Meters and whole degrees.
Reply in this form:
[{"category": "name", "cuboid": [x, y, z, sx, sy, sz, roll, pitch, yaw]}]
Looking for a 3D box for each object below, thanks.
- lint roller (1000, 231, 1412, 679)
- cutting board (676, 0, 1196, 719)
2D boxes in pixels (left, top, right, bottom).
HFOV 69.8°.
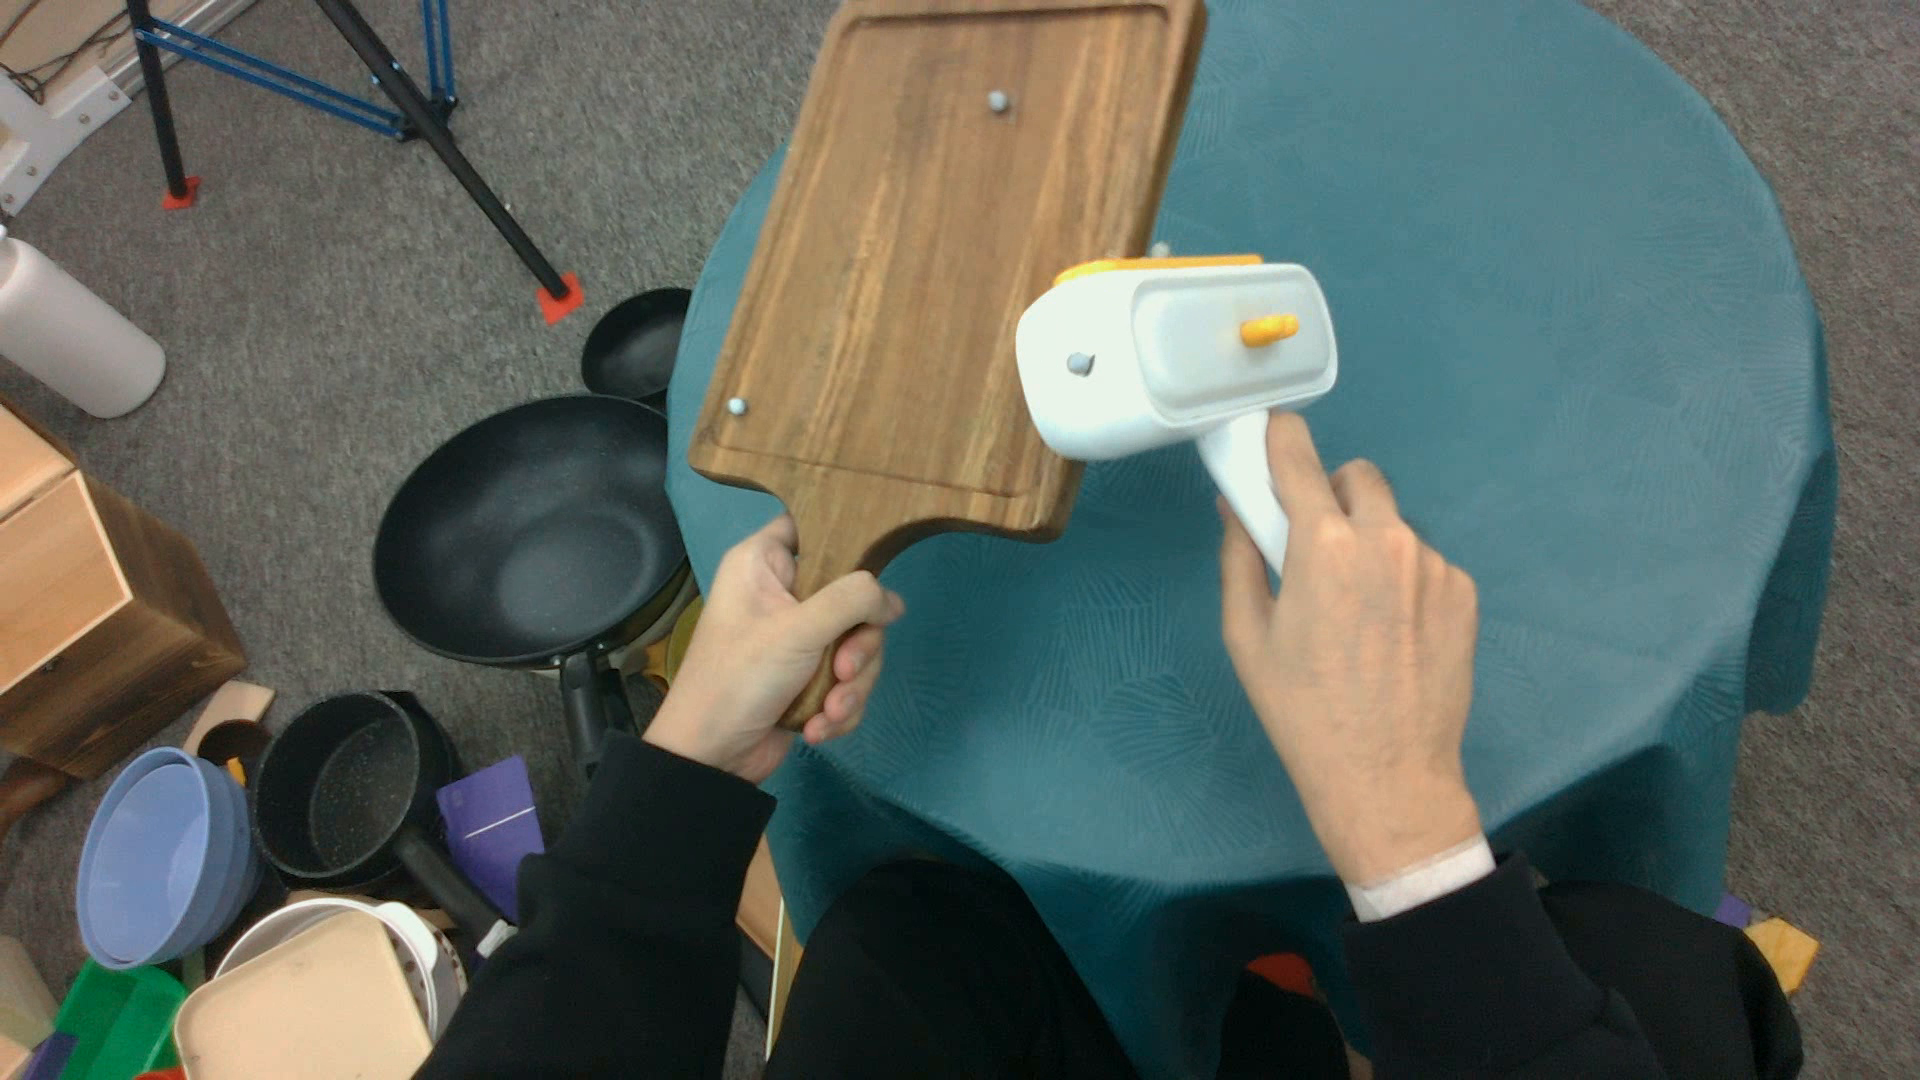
[{"category": "lint roller", "cuboid": [0.113, -0.029, 0.546, 0.074, 0.193, 0.192, -24, 91, 34]}, {"category": "cutting board", "cuboid": [-0.028, -0.094, 0.610, 0.201, 0.023, 0.353, 10, 77, 31]}]
